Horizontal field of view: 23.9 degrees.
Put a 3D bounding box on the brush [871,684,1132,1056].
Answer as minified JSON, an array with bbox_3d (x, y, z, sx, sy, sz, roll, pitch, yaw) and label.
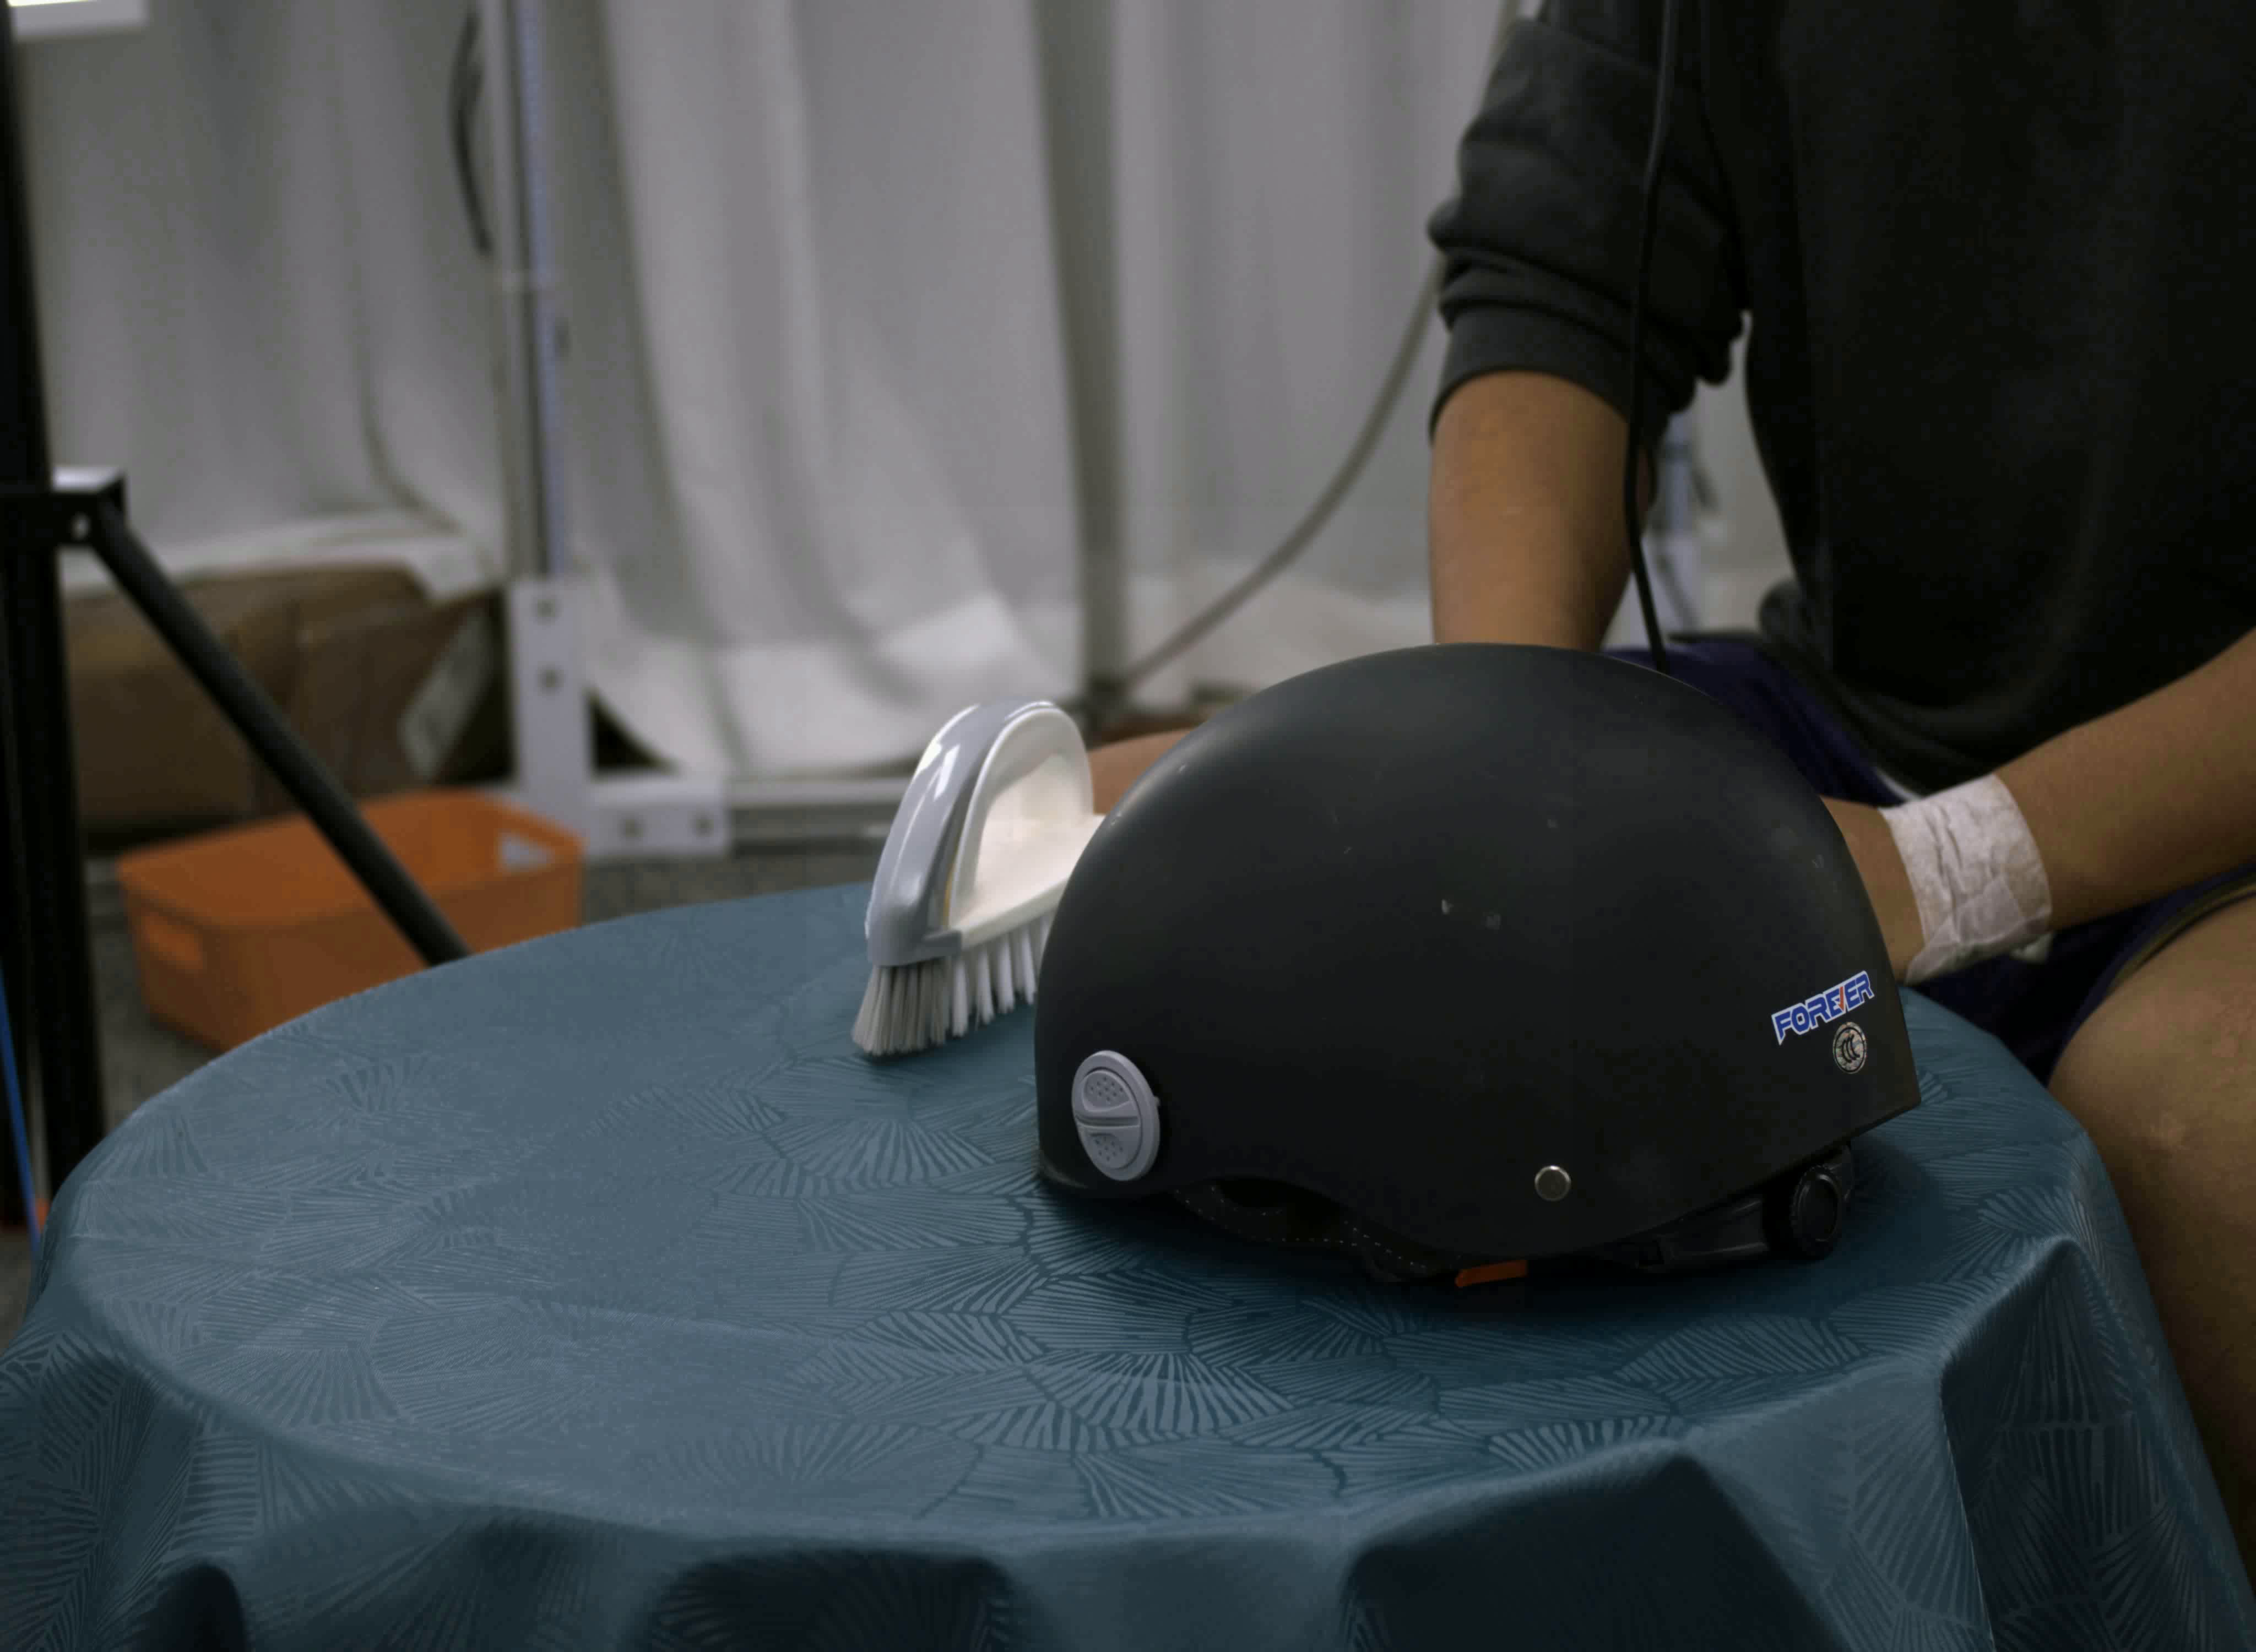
[{"bbox_3d":[-0.048,0.009,1.751,0.062,0.094,0.173,2,18,21],"label":"brush"}]

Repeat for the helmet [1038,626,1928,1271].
[{"bbox_3d":[0.096,0.026,1.541,0.279,0.167,0.225,9,19,42],"label":"helmet"}]
